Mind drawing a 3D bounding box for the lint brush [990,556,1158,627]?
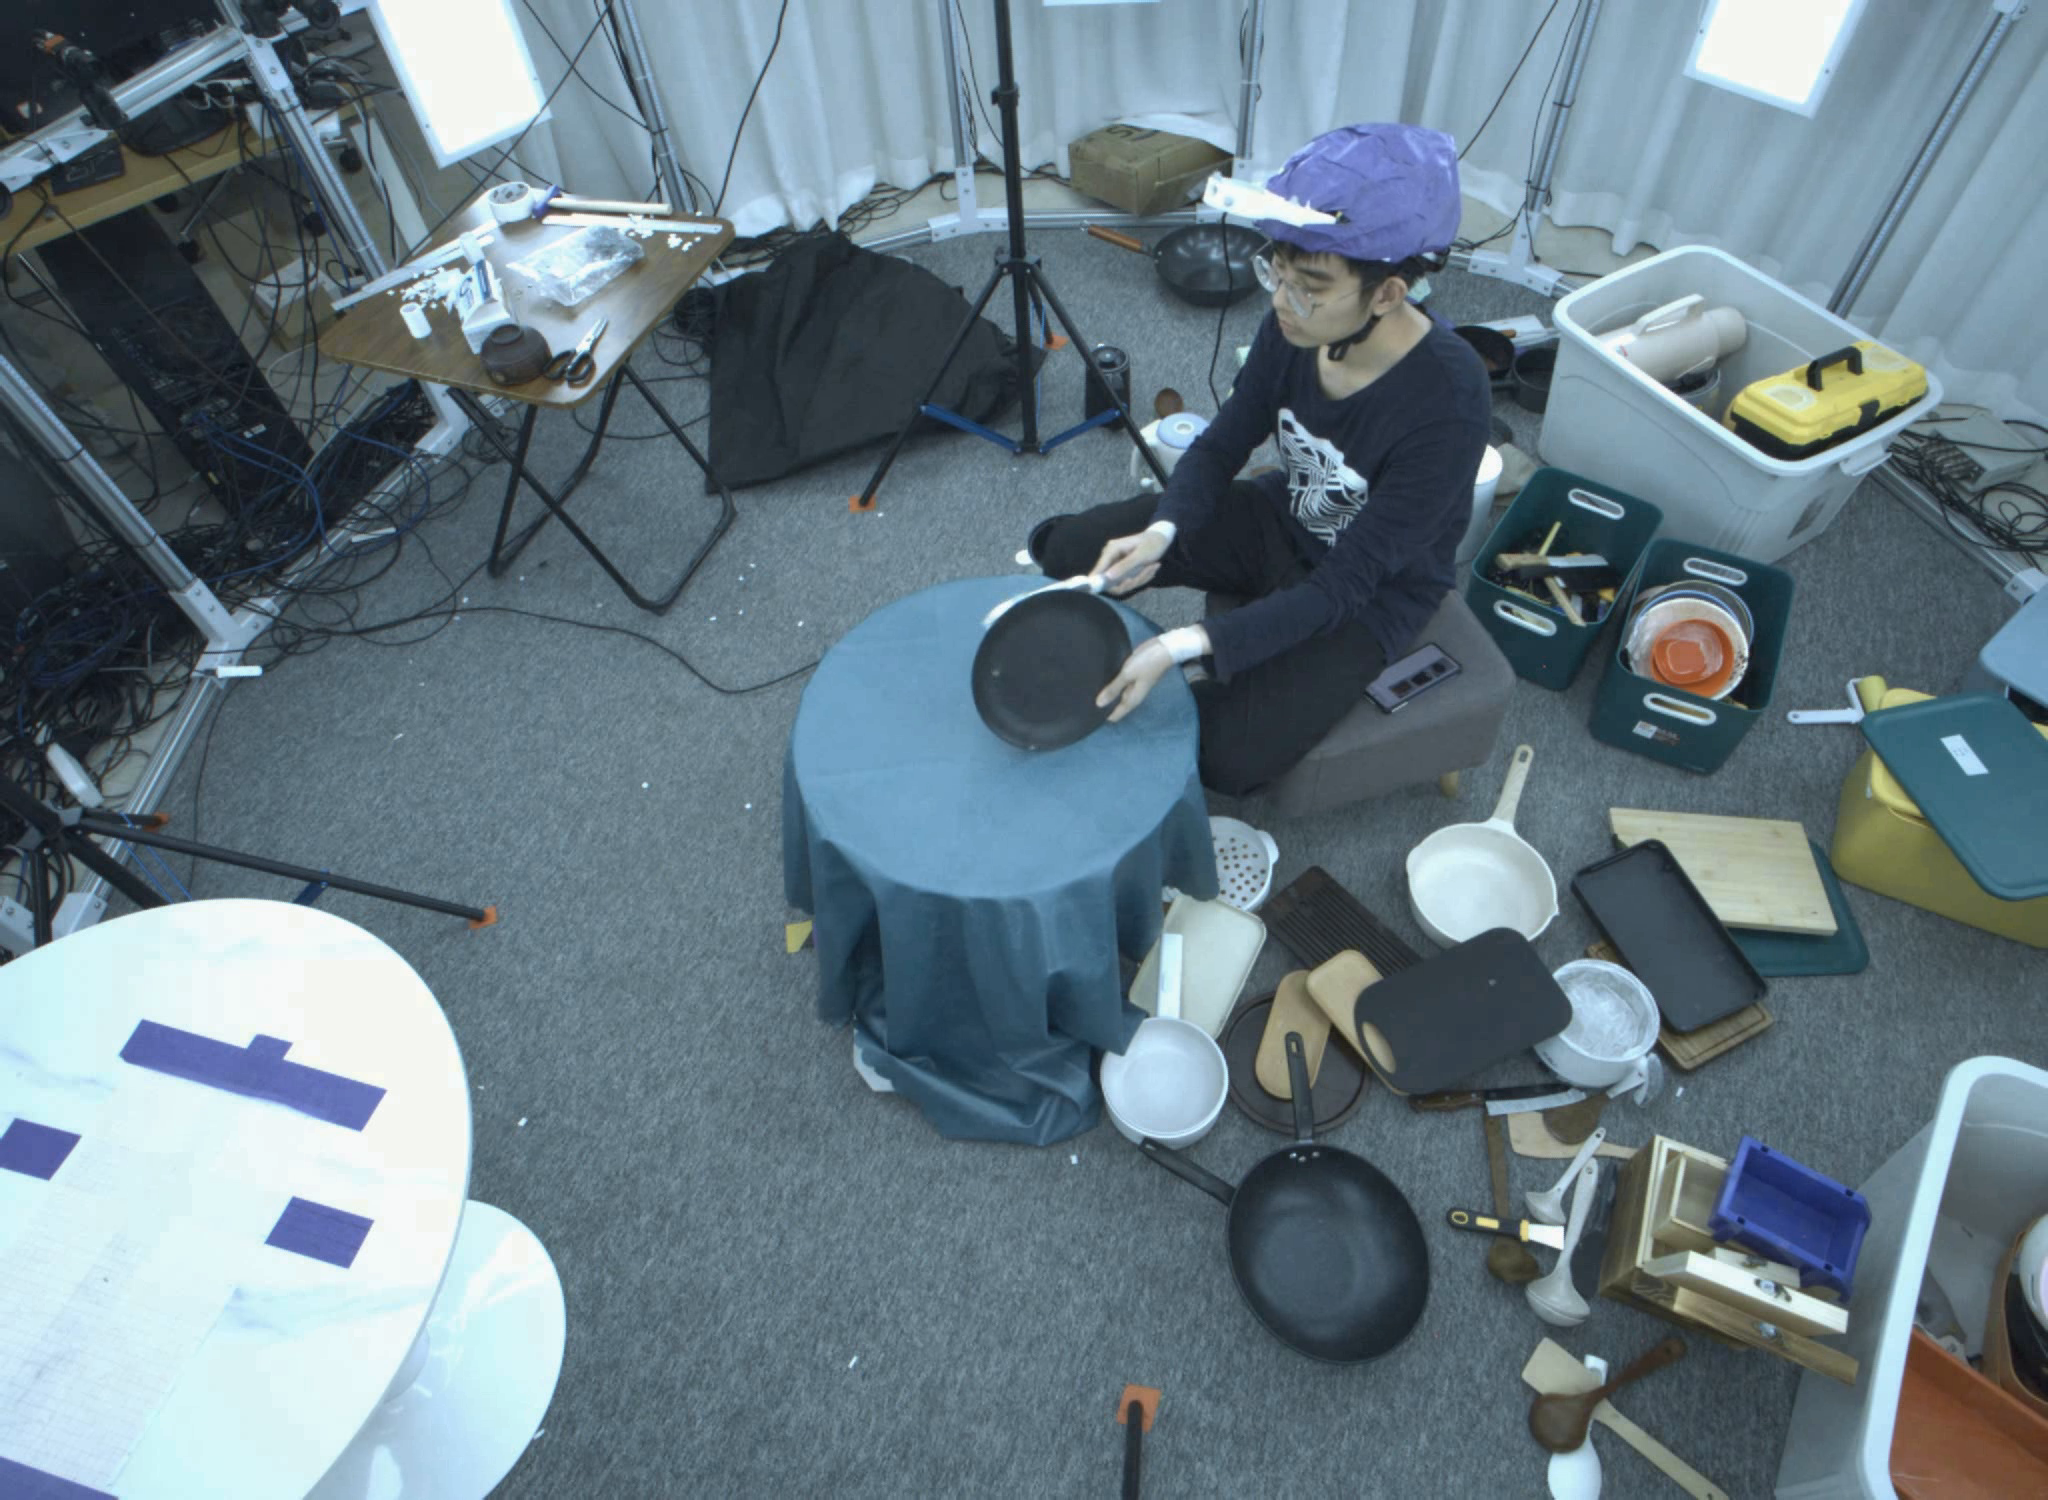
[{"bbox_3d":[0.078,-0.231,1.770,0.313,0.060,0.020,-24,60,-32],"label":"lint brush"}]

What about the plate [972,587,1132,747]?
[{"bbox_3d":[0.039,-0.118,1.742,0.246,0.248,0.023,-23,33,-13],"label":"plate"}]
